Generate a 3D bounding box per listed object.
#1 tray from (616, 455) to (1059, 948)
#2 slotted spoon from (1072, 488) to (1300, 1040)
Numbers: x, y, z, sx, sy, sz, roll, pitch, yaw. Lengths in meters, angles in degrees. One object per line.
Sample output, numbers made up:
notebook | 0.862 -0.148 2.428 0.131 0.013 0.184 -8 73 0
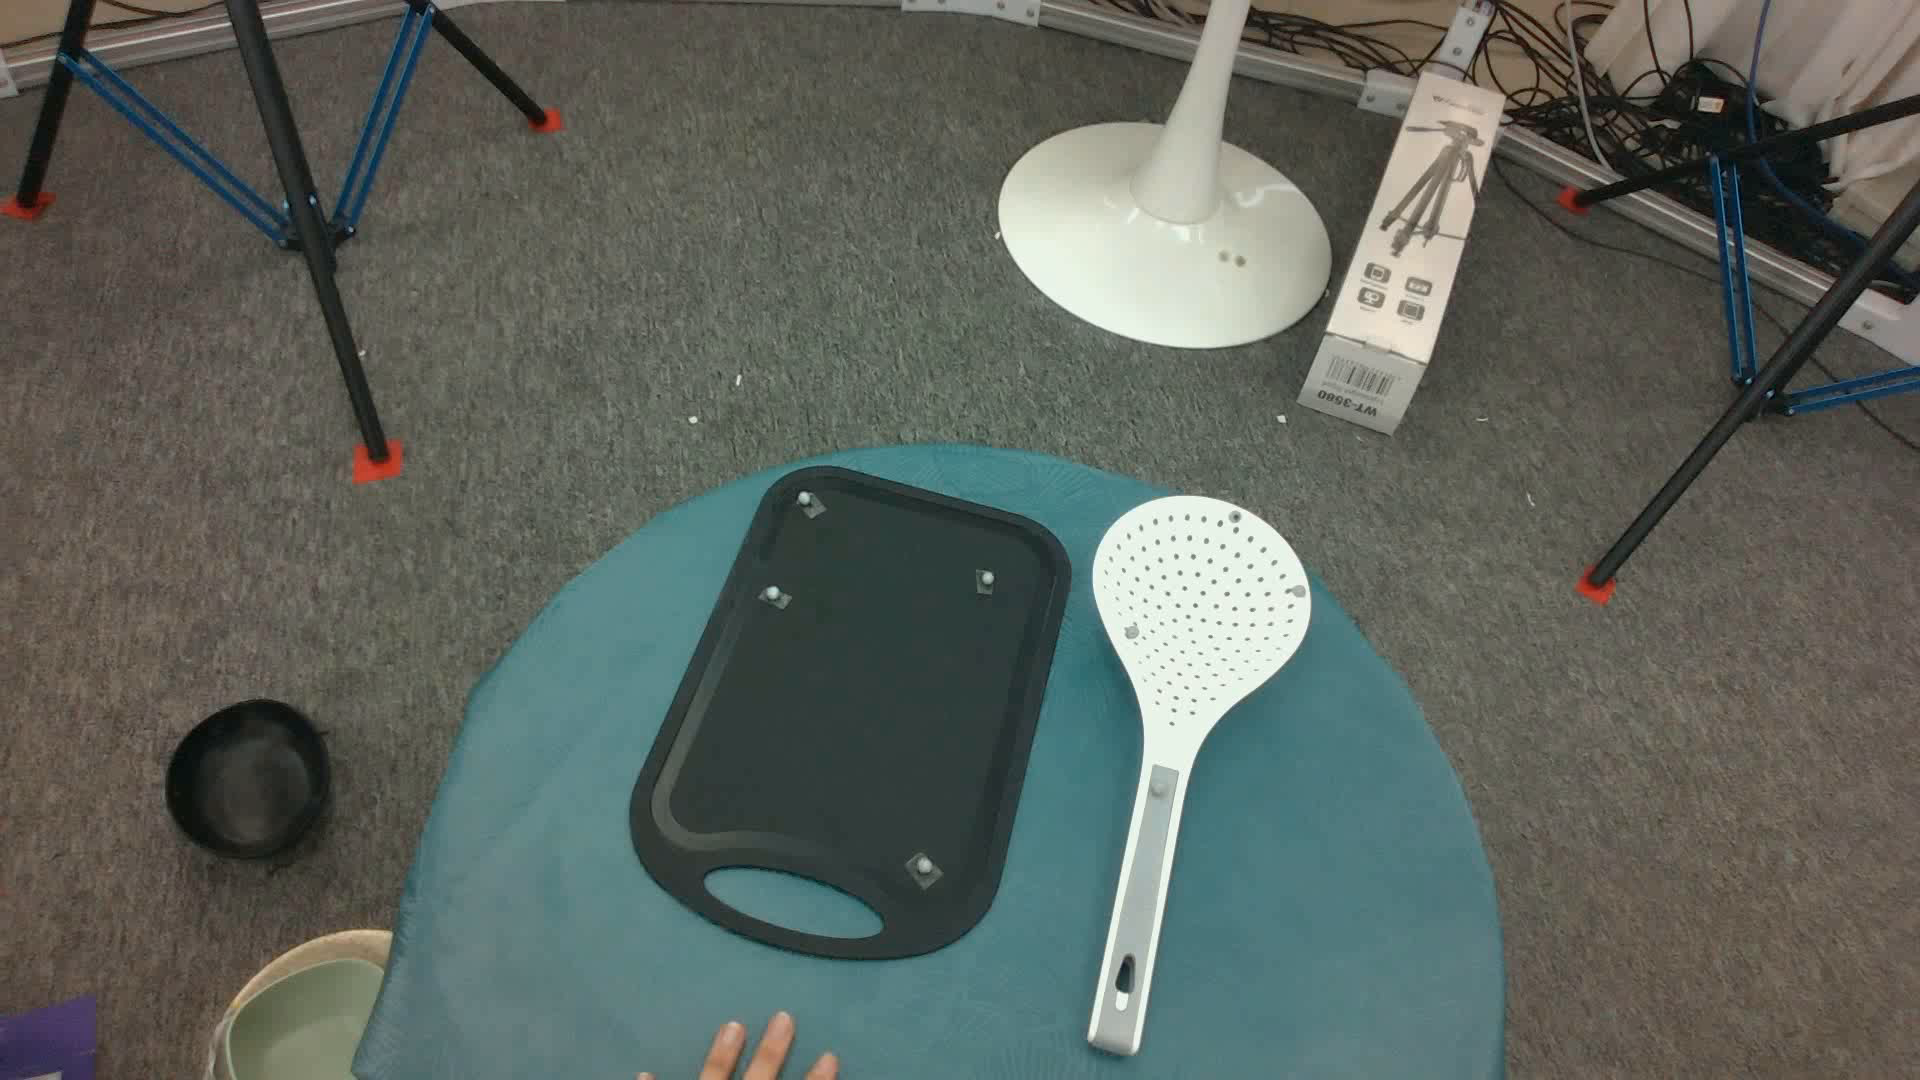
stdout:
tray | -0.064 0.083 0.819 0.211 0.010 0.327 15 52 3
slotted spoon | 0.116 0.114 0.801 0.136 0.045 0.351 15 52 5
